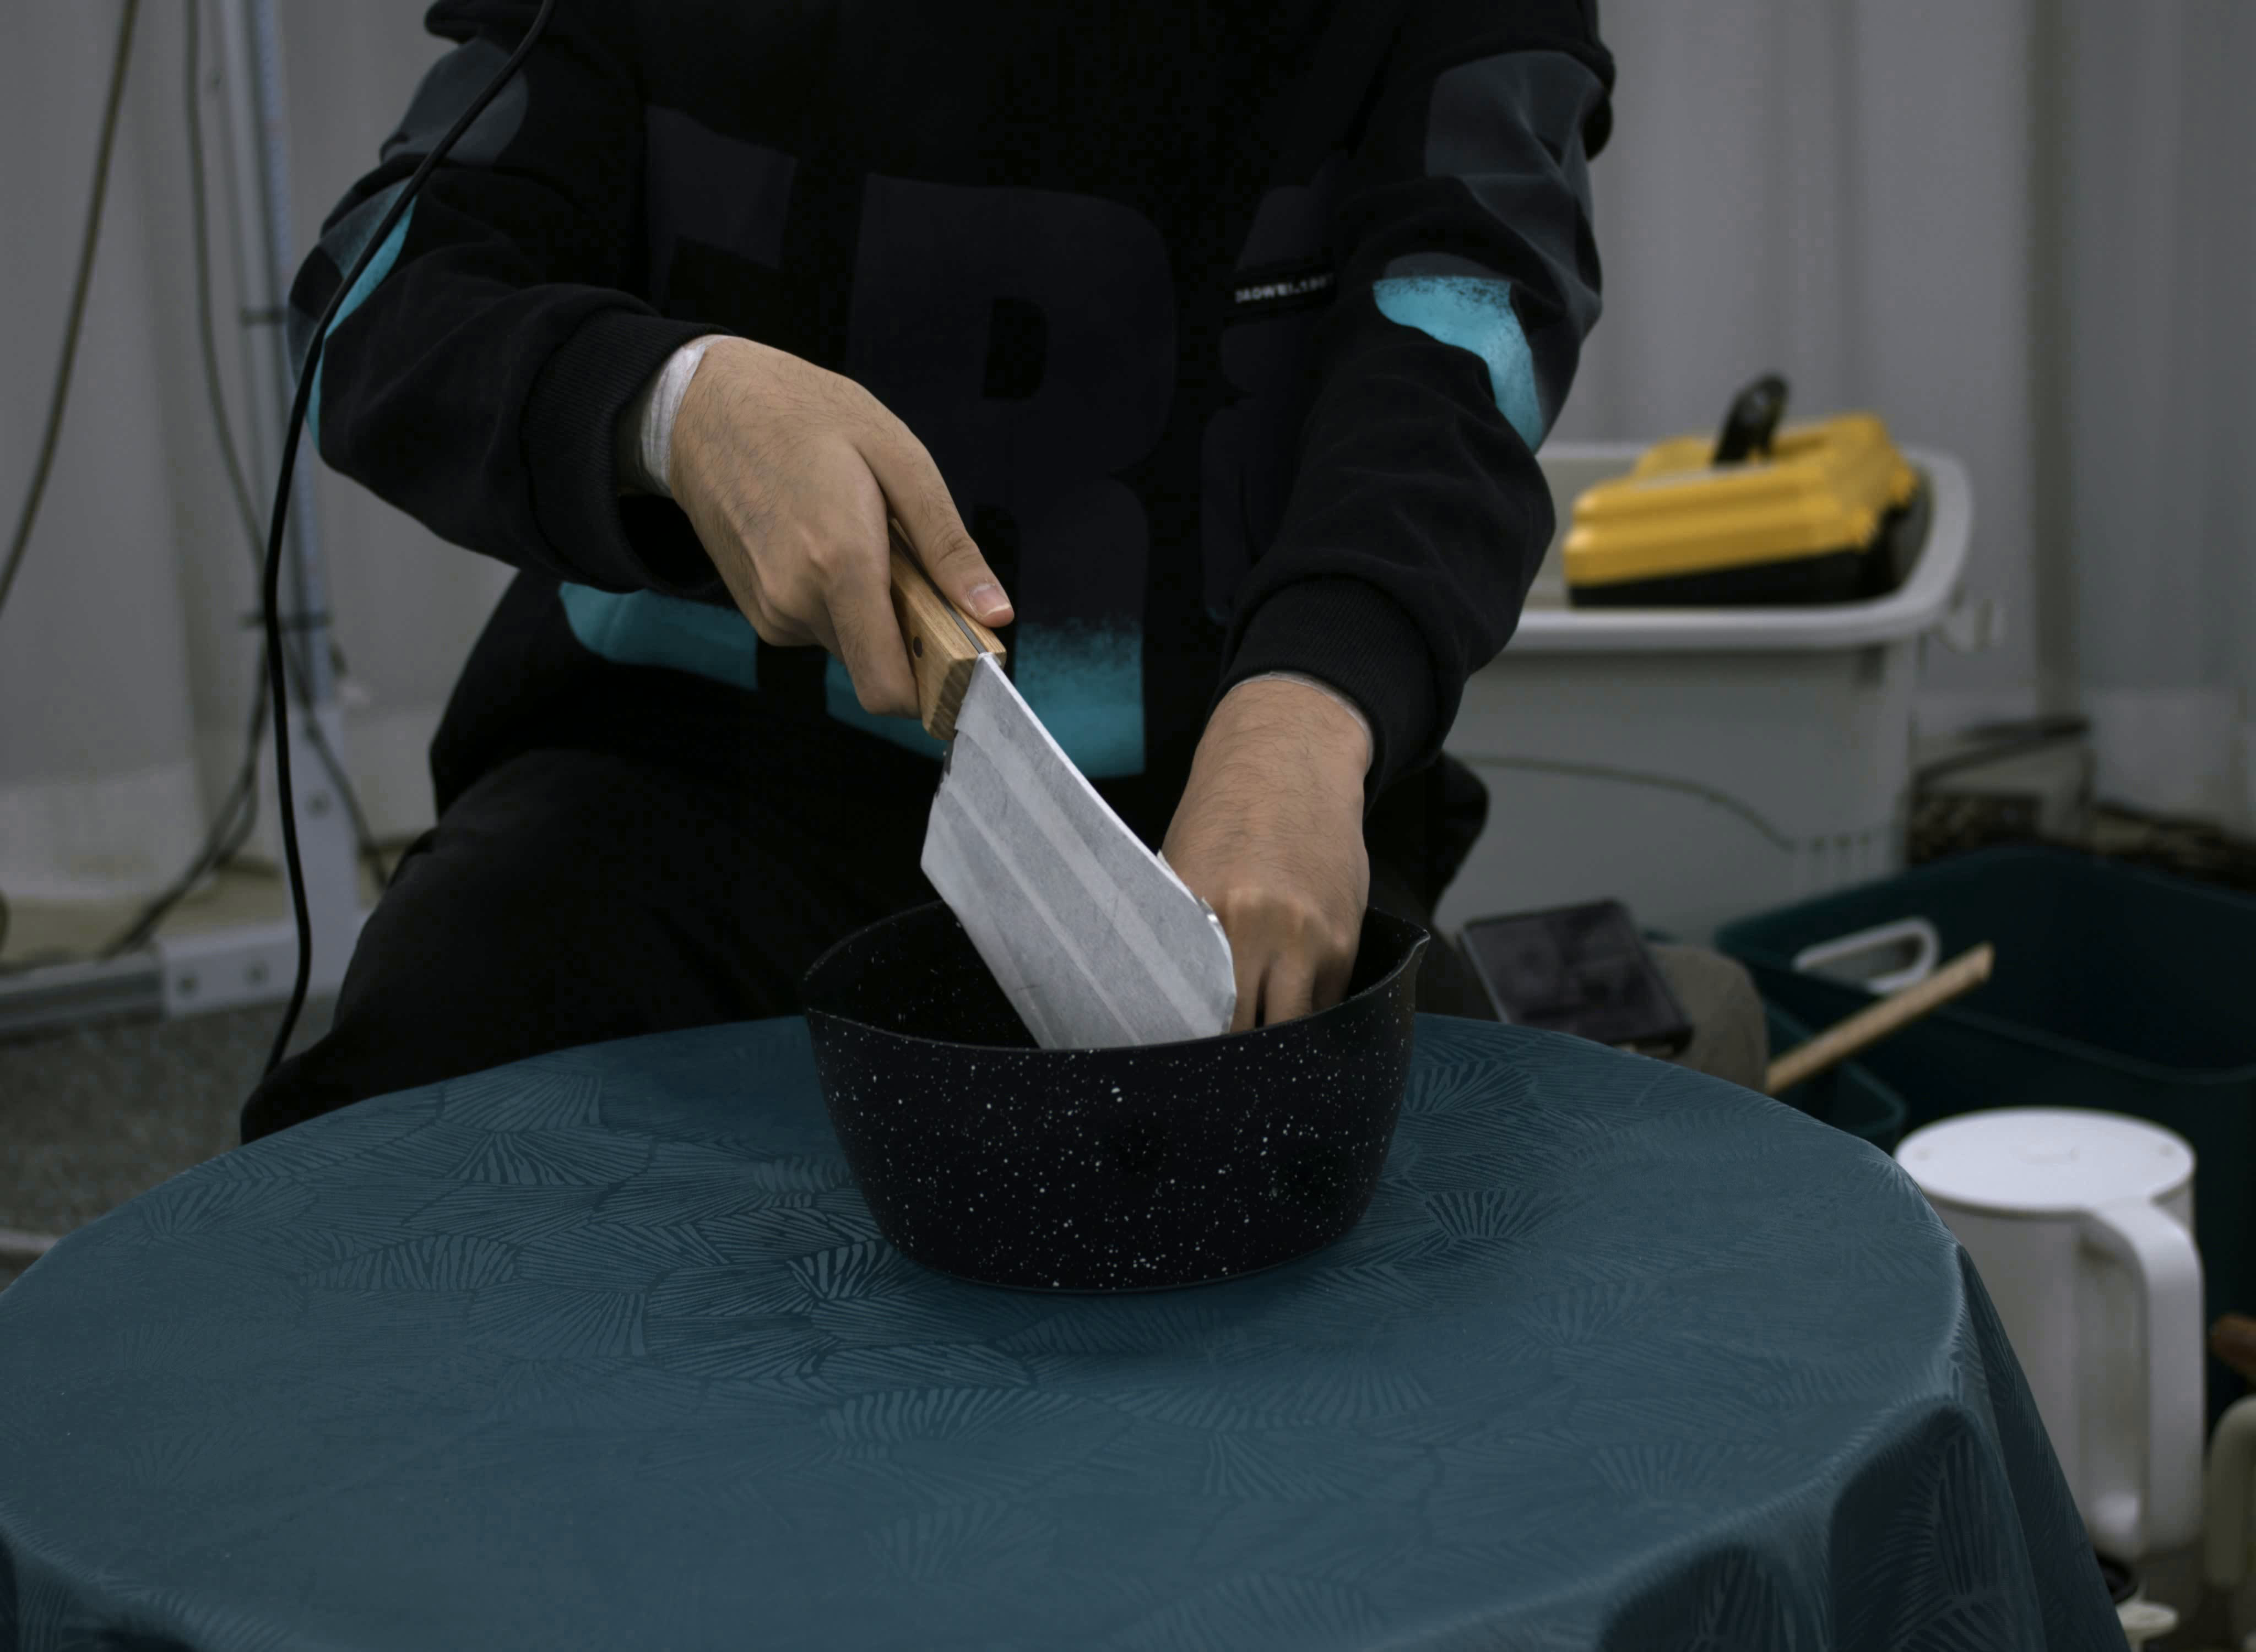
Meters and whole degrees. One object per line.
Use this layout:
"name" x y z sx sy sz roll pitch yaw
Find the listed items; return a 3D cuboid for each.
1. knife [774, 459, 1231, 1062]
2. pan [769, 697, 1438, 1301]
"knife" -0.041 -0.013 1.708 0.021 0.113 0.320 -4 41 -29
"pan" -0.020 0.049 1.754 0.206 0.108 0.346 -7 17 -11
